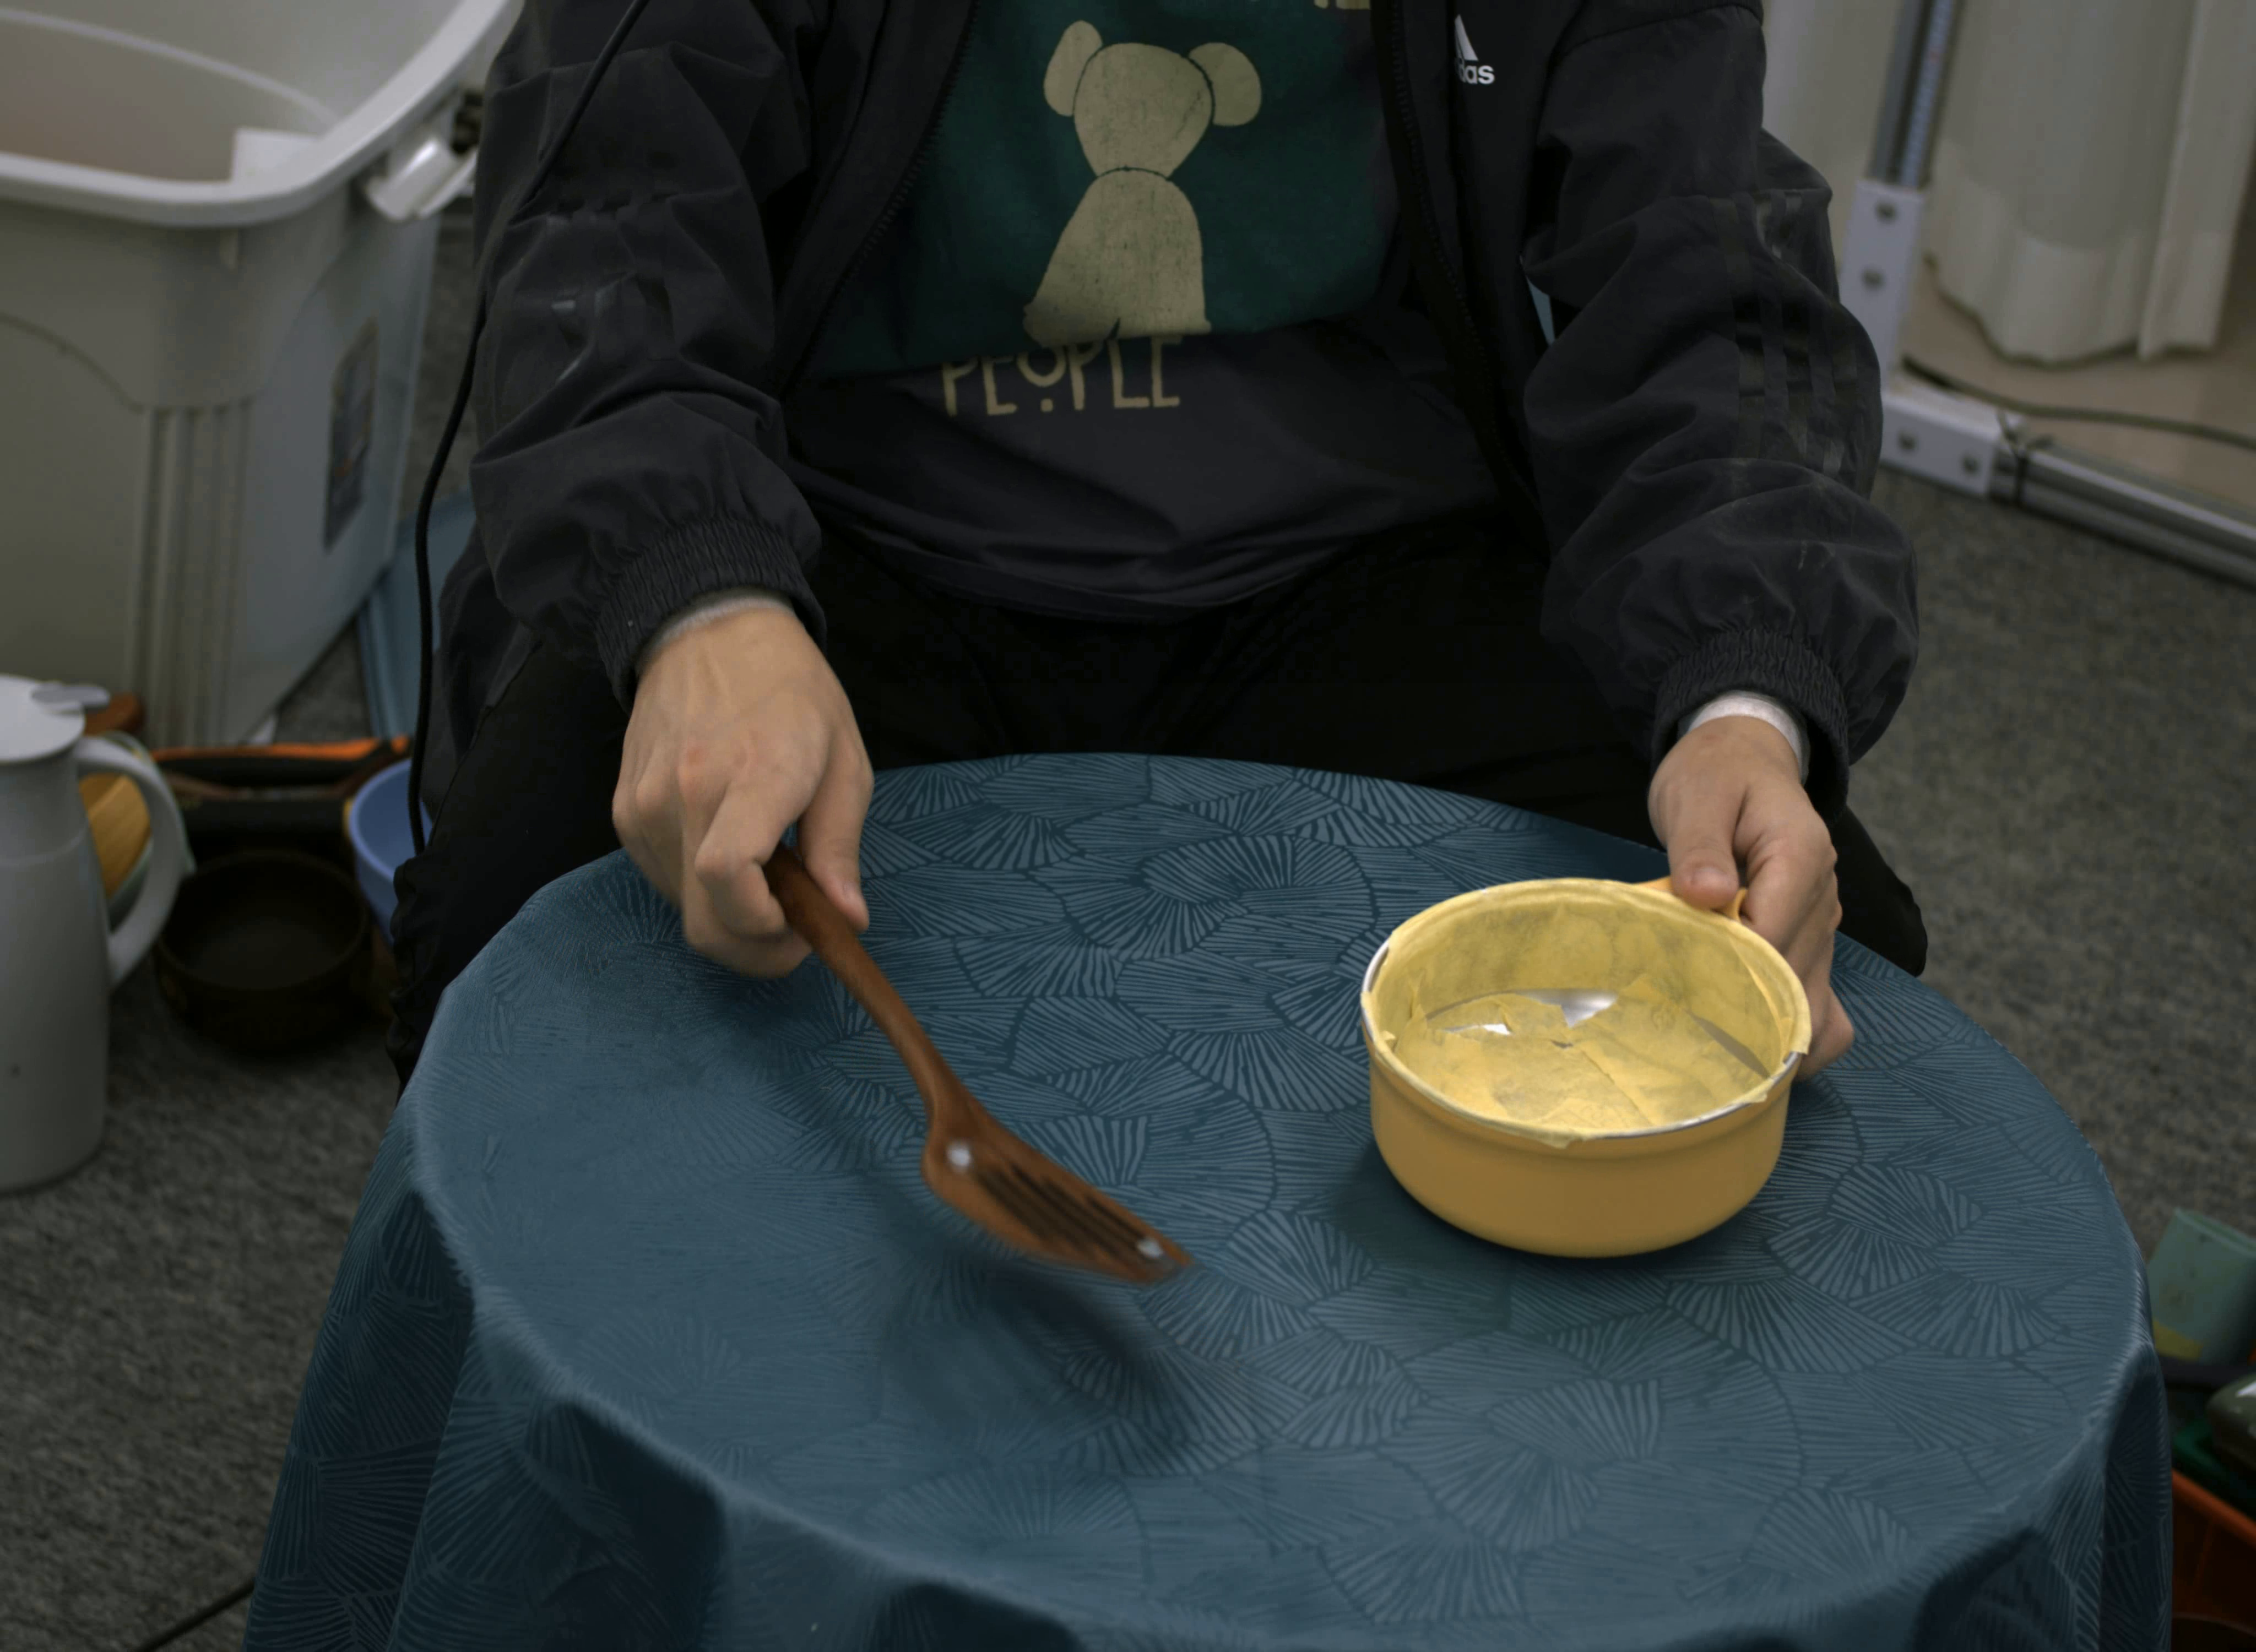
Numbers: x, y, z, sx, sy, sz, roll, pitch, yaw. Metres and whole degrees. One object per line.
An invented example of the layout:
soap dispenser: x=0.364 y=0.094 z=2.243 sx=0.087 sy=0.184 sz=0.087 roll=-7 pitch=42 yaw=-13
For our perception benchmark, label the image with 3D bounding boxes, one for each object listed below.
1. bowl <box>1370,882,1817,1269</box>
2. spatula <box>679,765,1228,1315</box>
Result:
bowl: x=0.164 y=0.084 z=1.837 sx=0.153 sy=0.074 sz=0.179 roll=17 pitch=36 yaw=23
spatula: x=-0.080 y=0.070 z=1.812 sx=0.085 sy=0.024 sz=0.390 roll=10 pitch=22 yaw=-32
